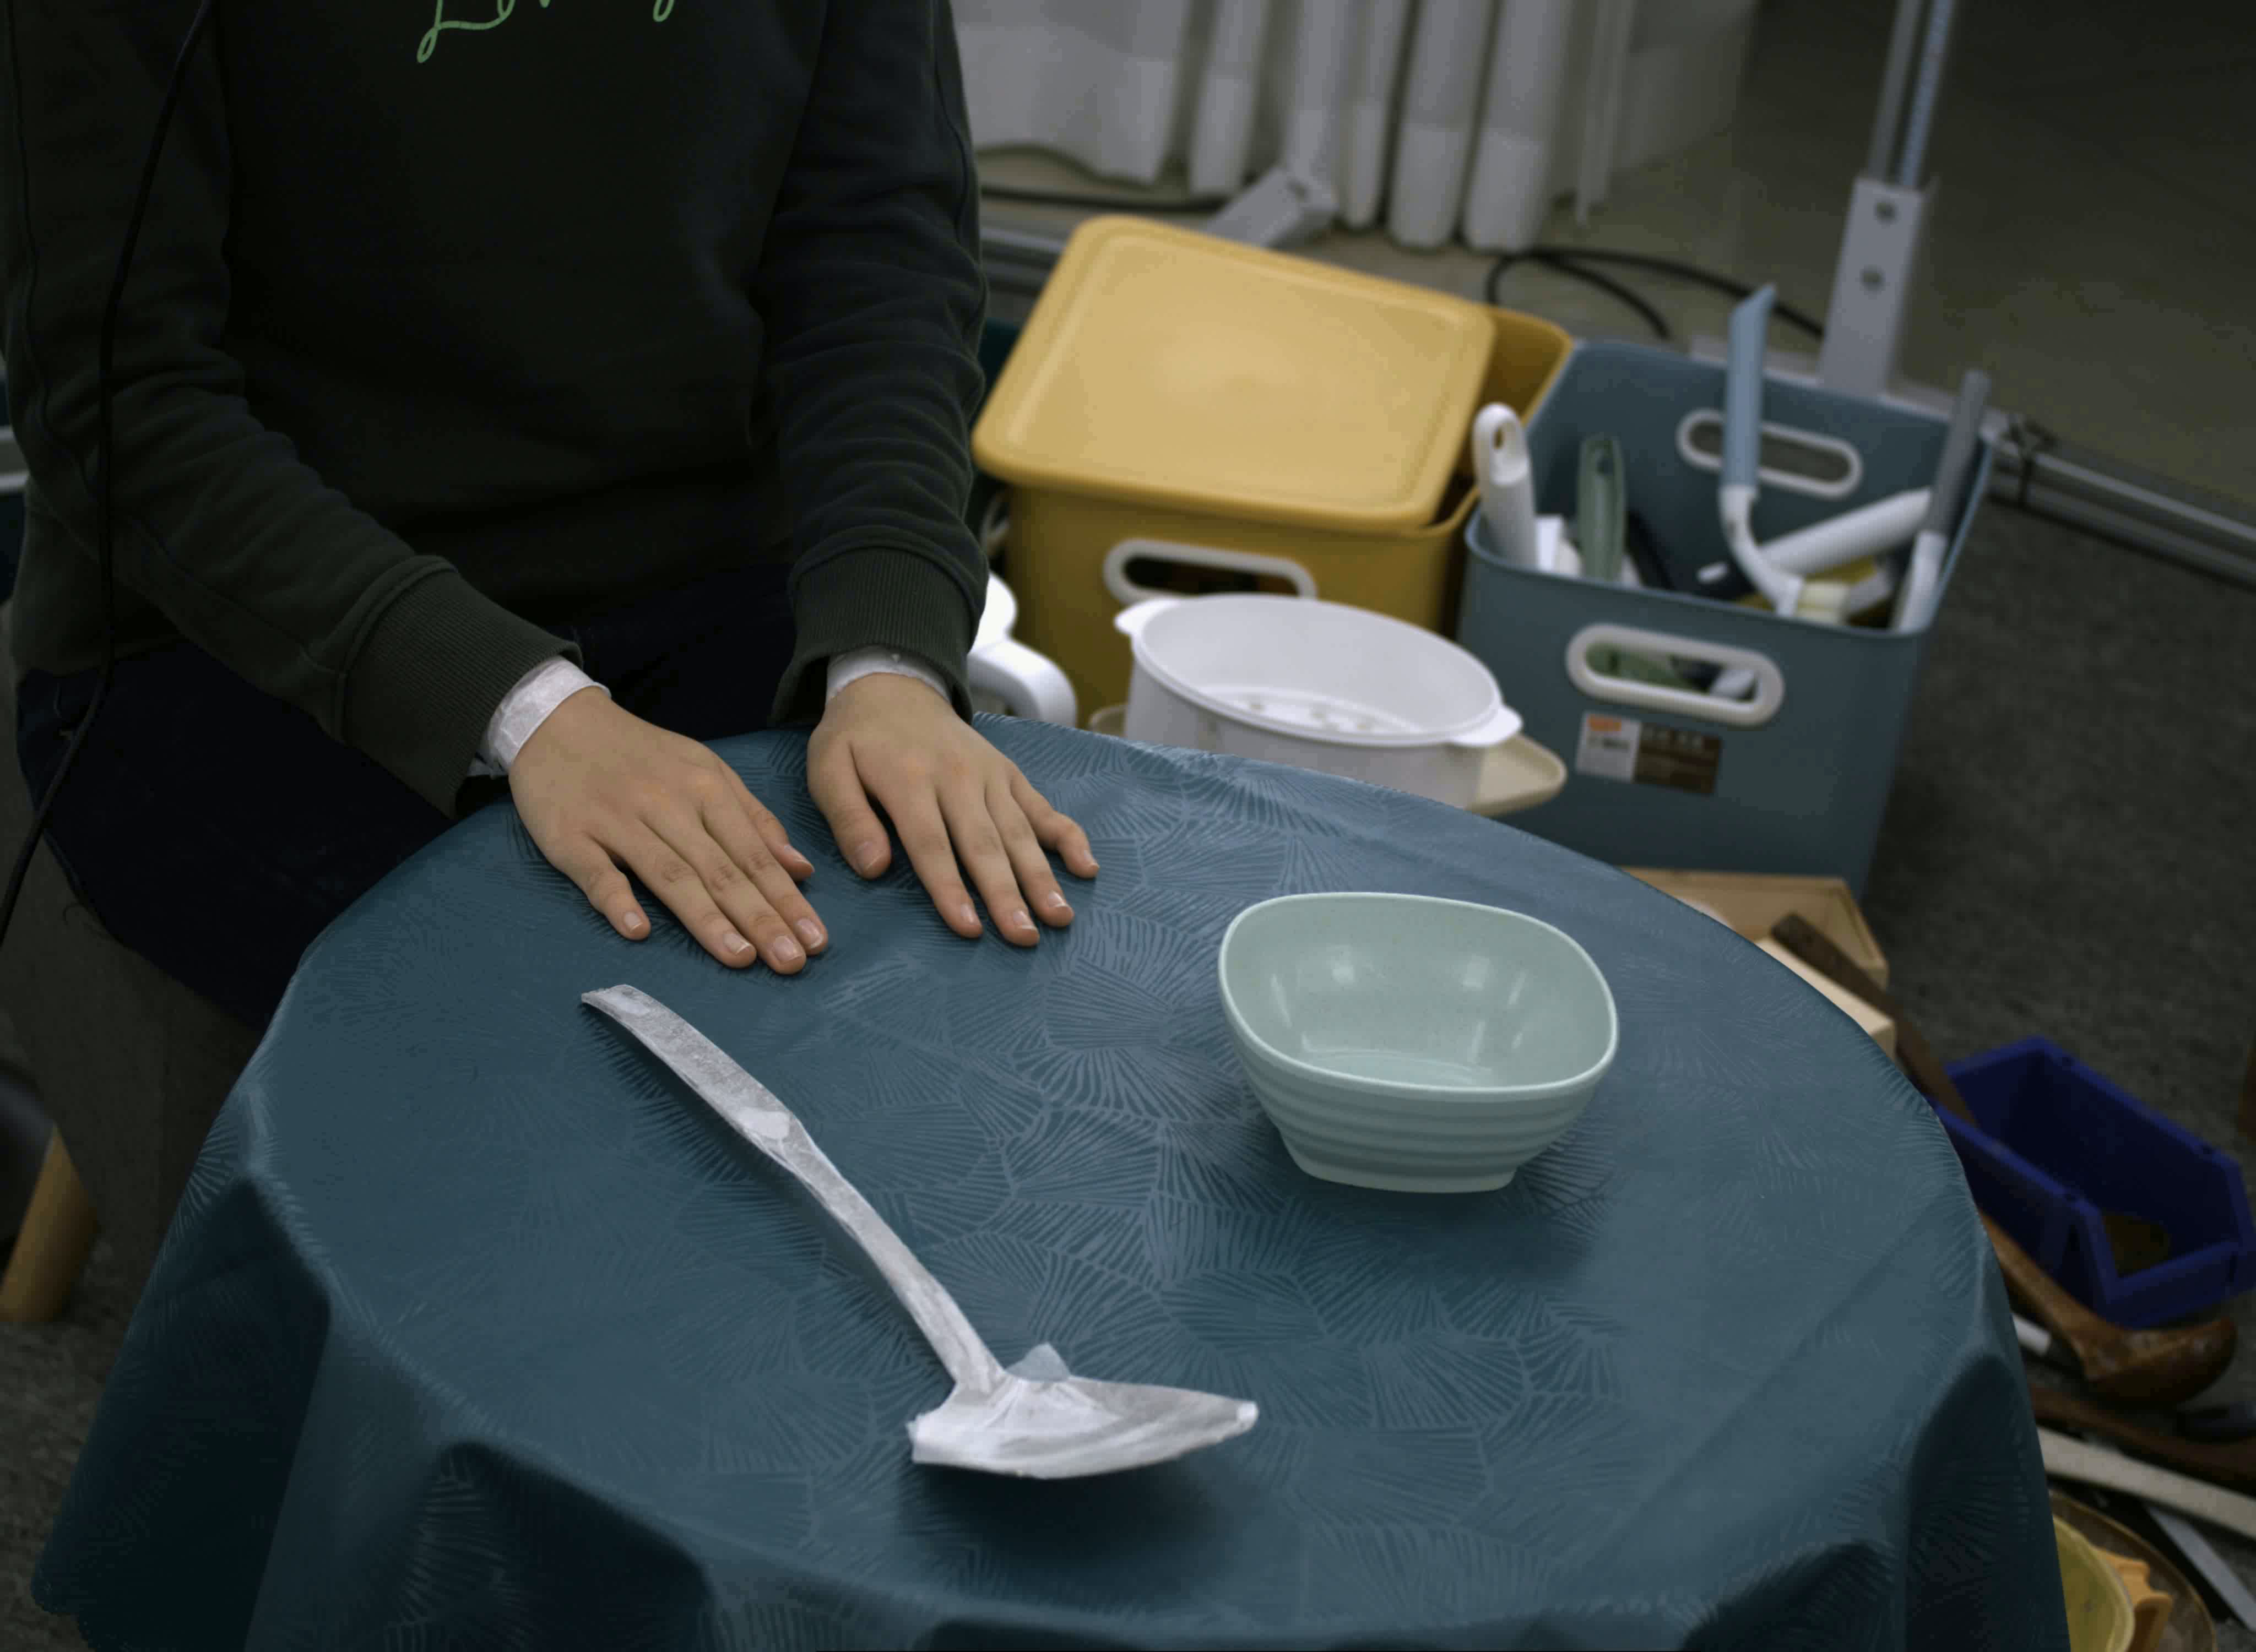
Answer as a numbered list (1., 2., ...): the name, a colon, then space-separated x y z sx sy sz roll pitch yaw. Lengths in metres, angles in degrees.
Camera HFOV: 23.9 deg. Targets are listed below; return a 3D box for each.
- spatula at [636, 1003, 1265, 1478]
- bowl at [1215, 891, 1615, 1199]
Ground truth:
1. spatula: -0.082 0.126 1.734 0.098 0.044 0.368 -11 32 -28
2. bowl: 0.095 0.082 1.844 0.151 0.058 0.152 7 28 -4
